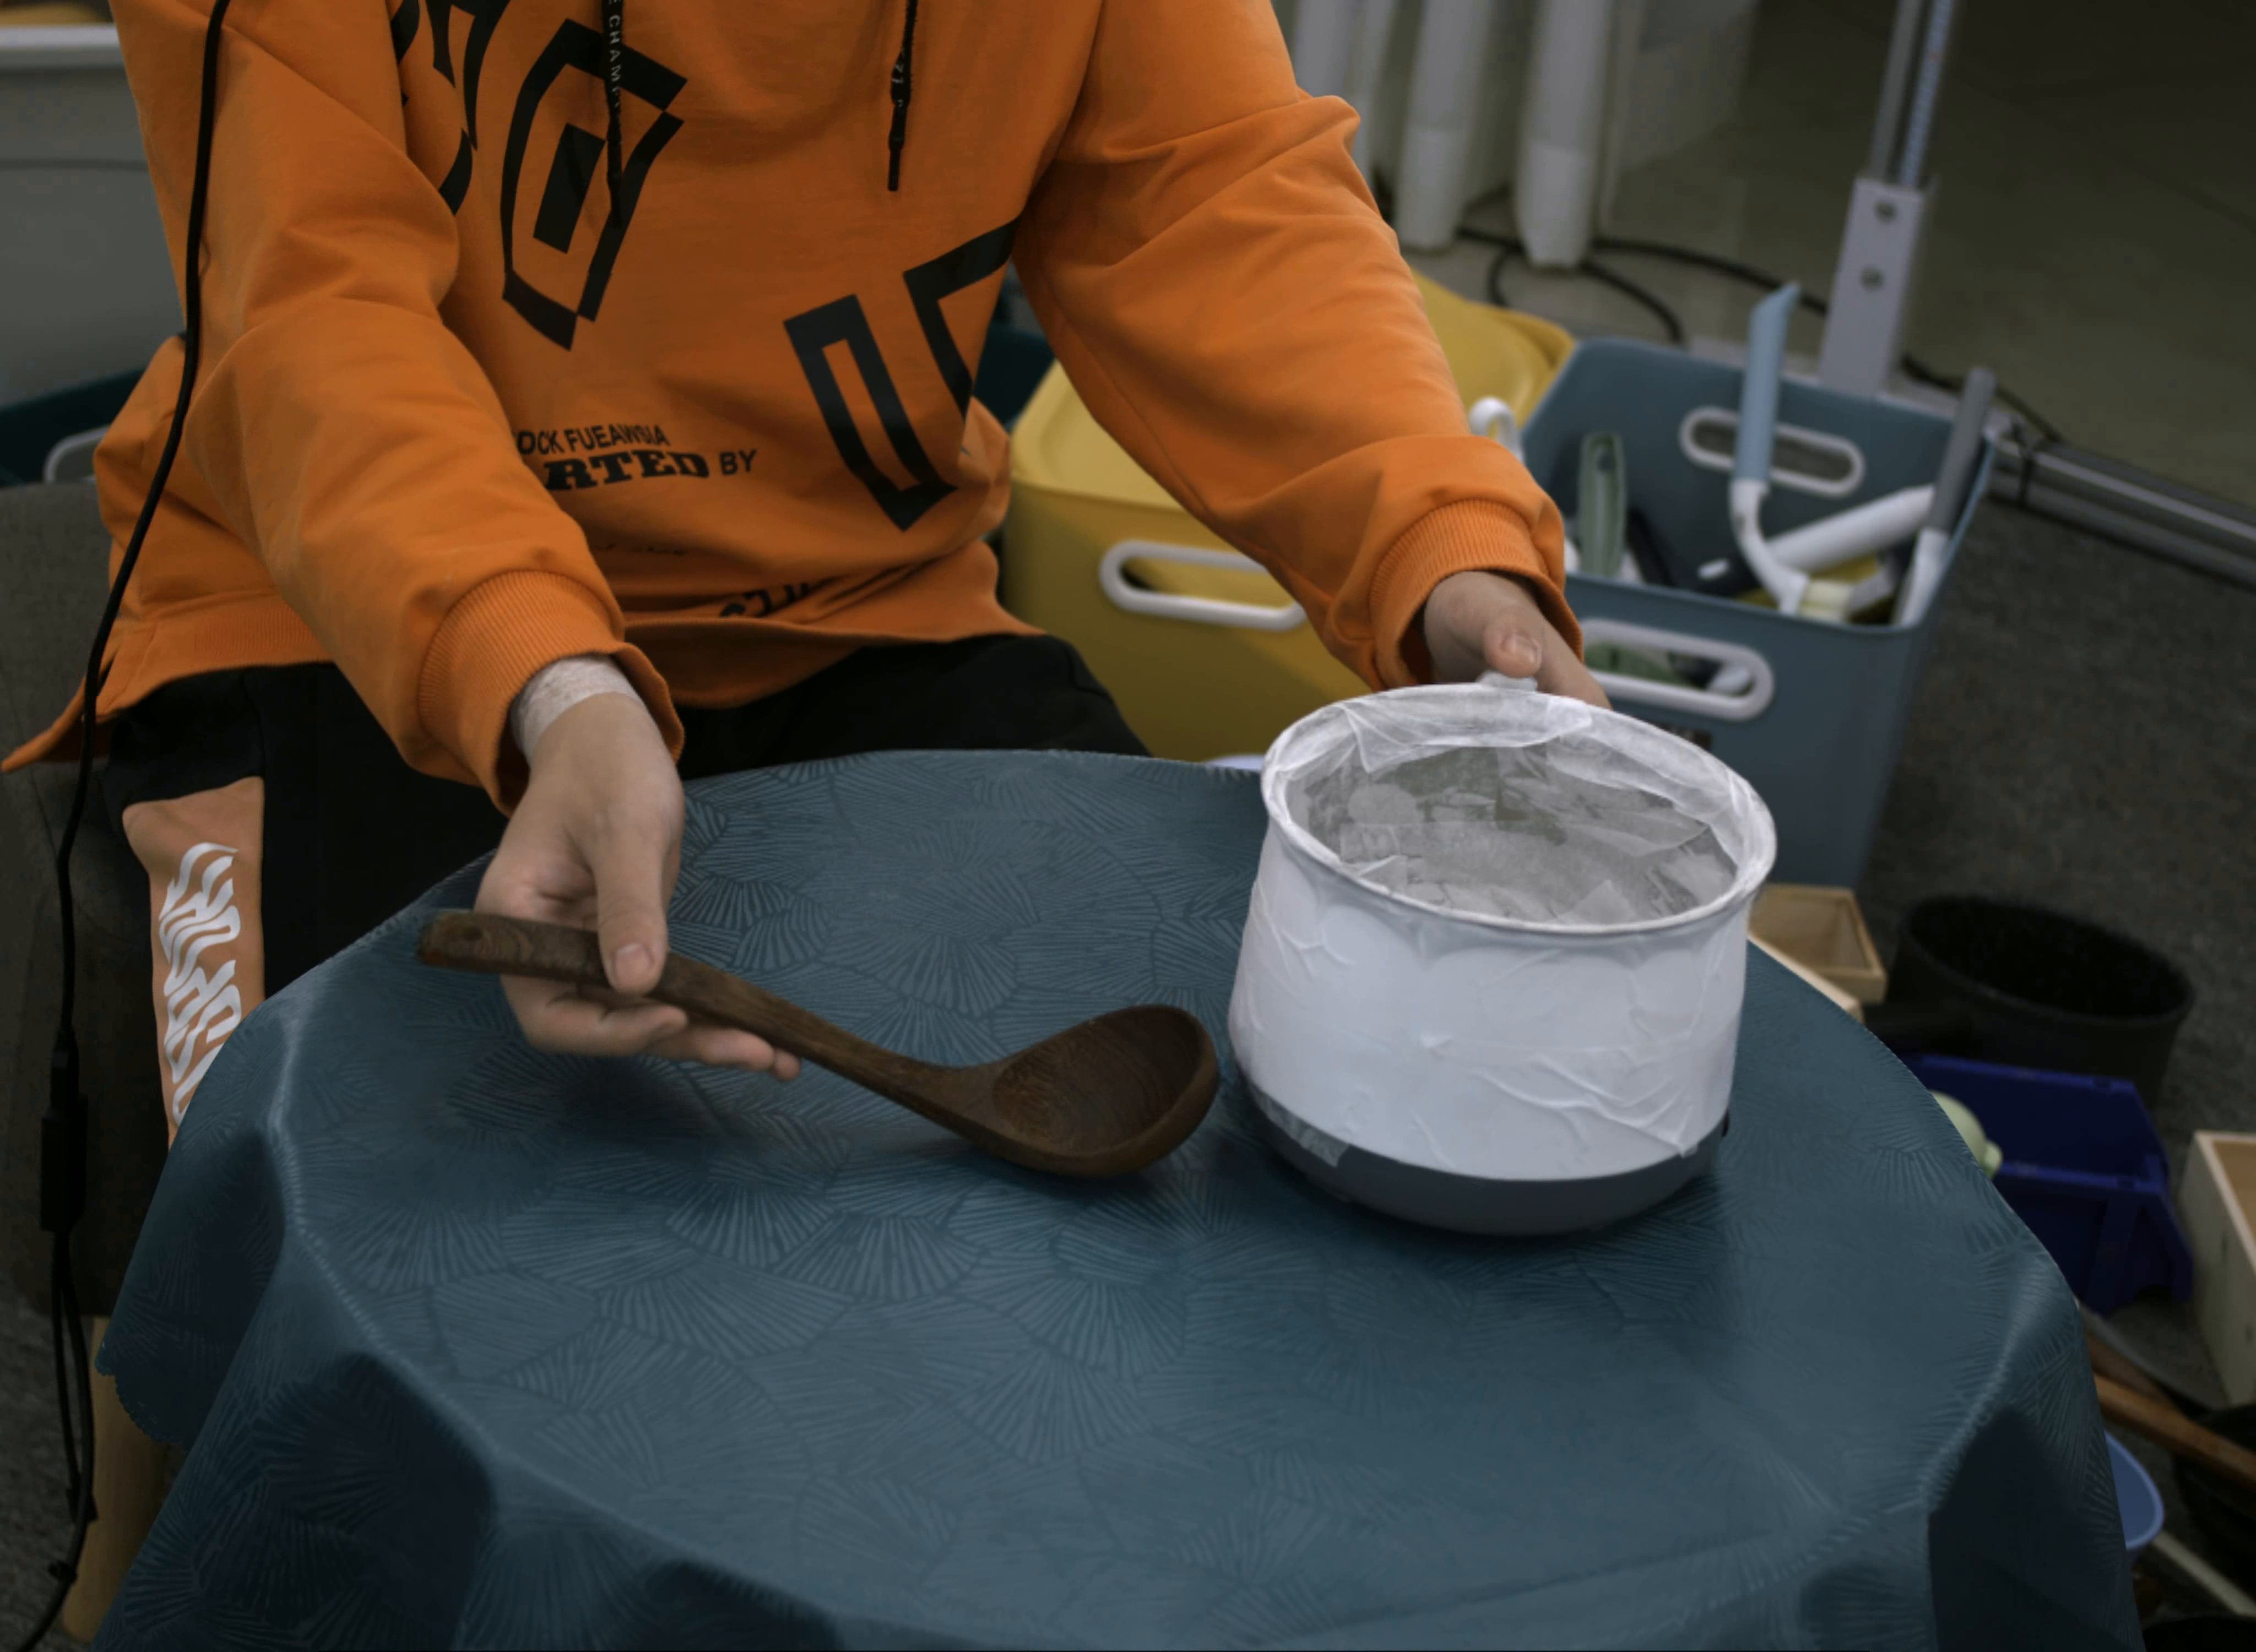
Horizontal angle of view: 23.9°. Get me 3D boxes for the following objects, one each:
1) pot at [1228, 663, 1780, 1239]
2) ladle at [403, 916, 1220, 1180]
[{"bbox_3d":[0.126,0.036,1.852,0.178,0.136,0.235,6,27,-2],"label":"pot"},{"bbox_3d":[-0.102,0.057,1.780,0.272,0.071,0.076,19,29,-16],"label":"ladle"}]
